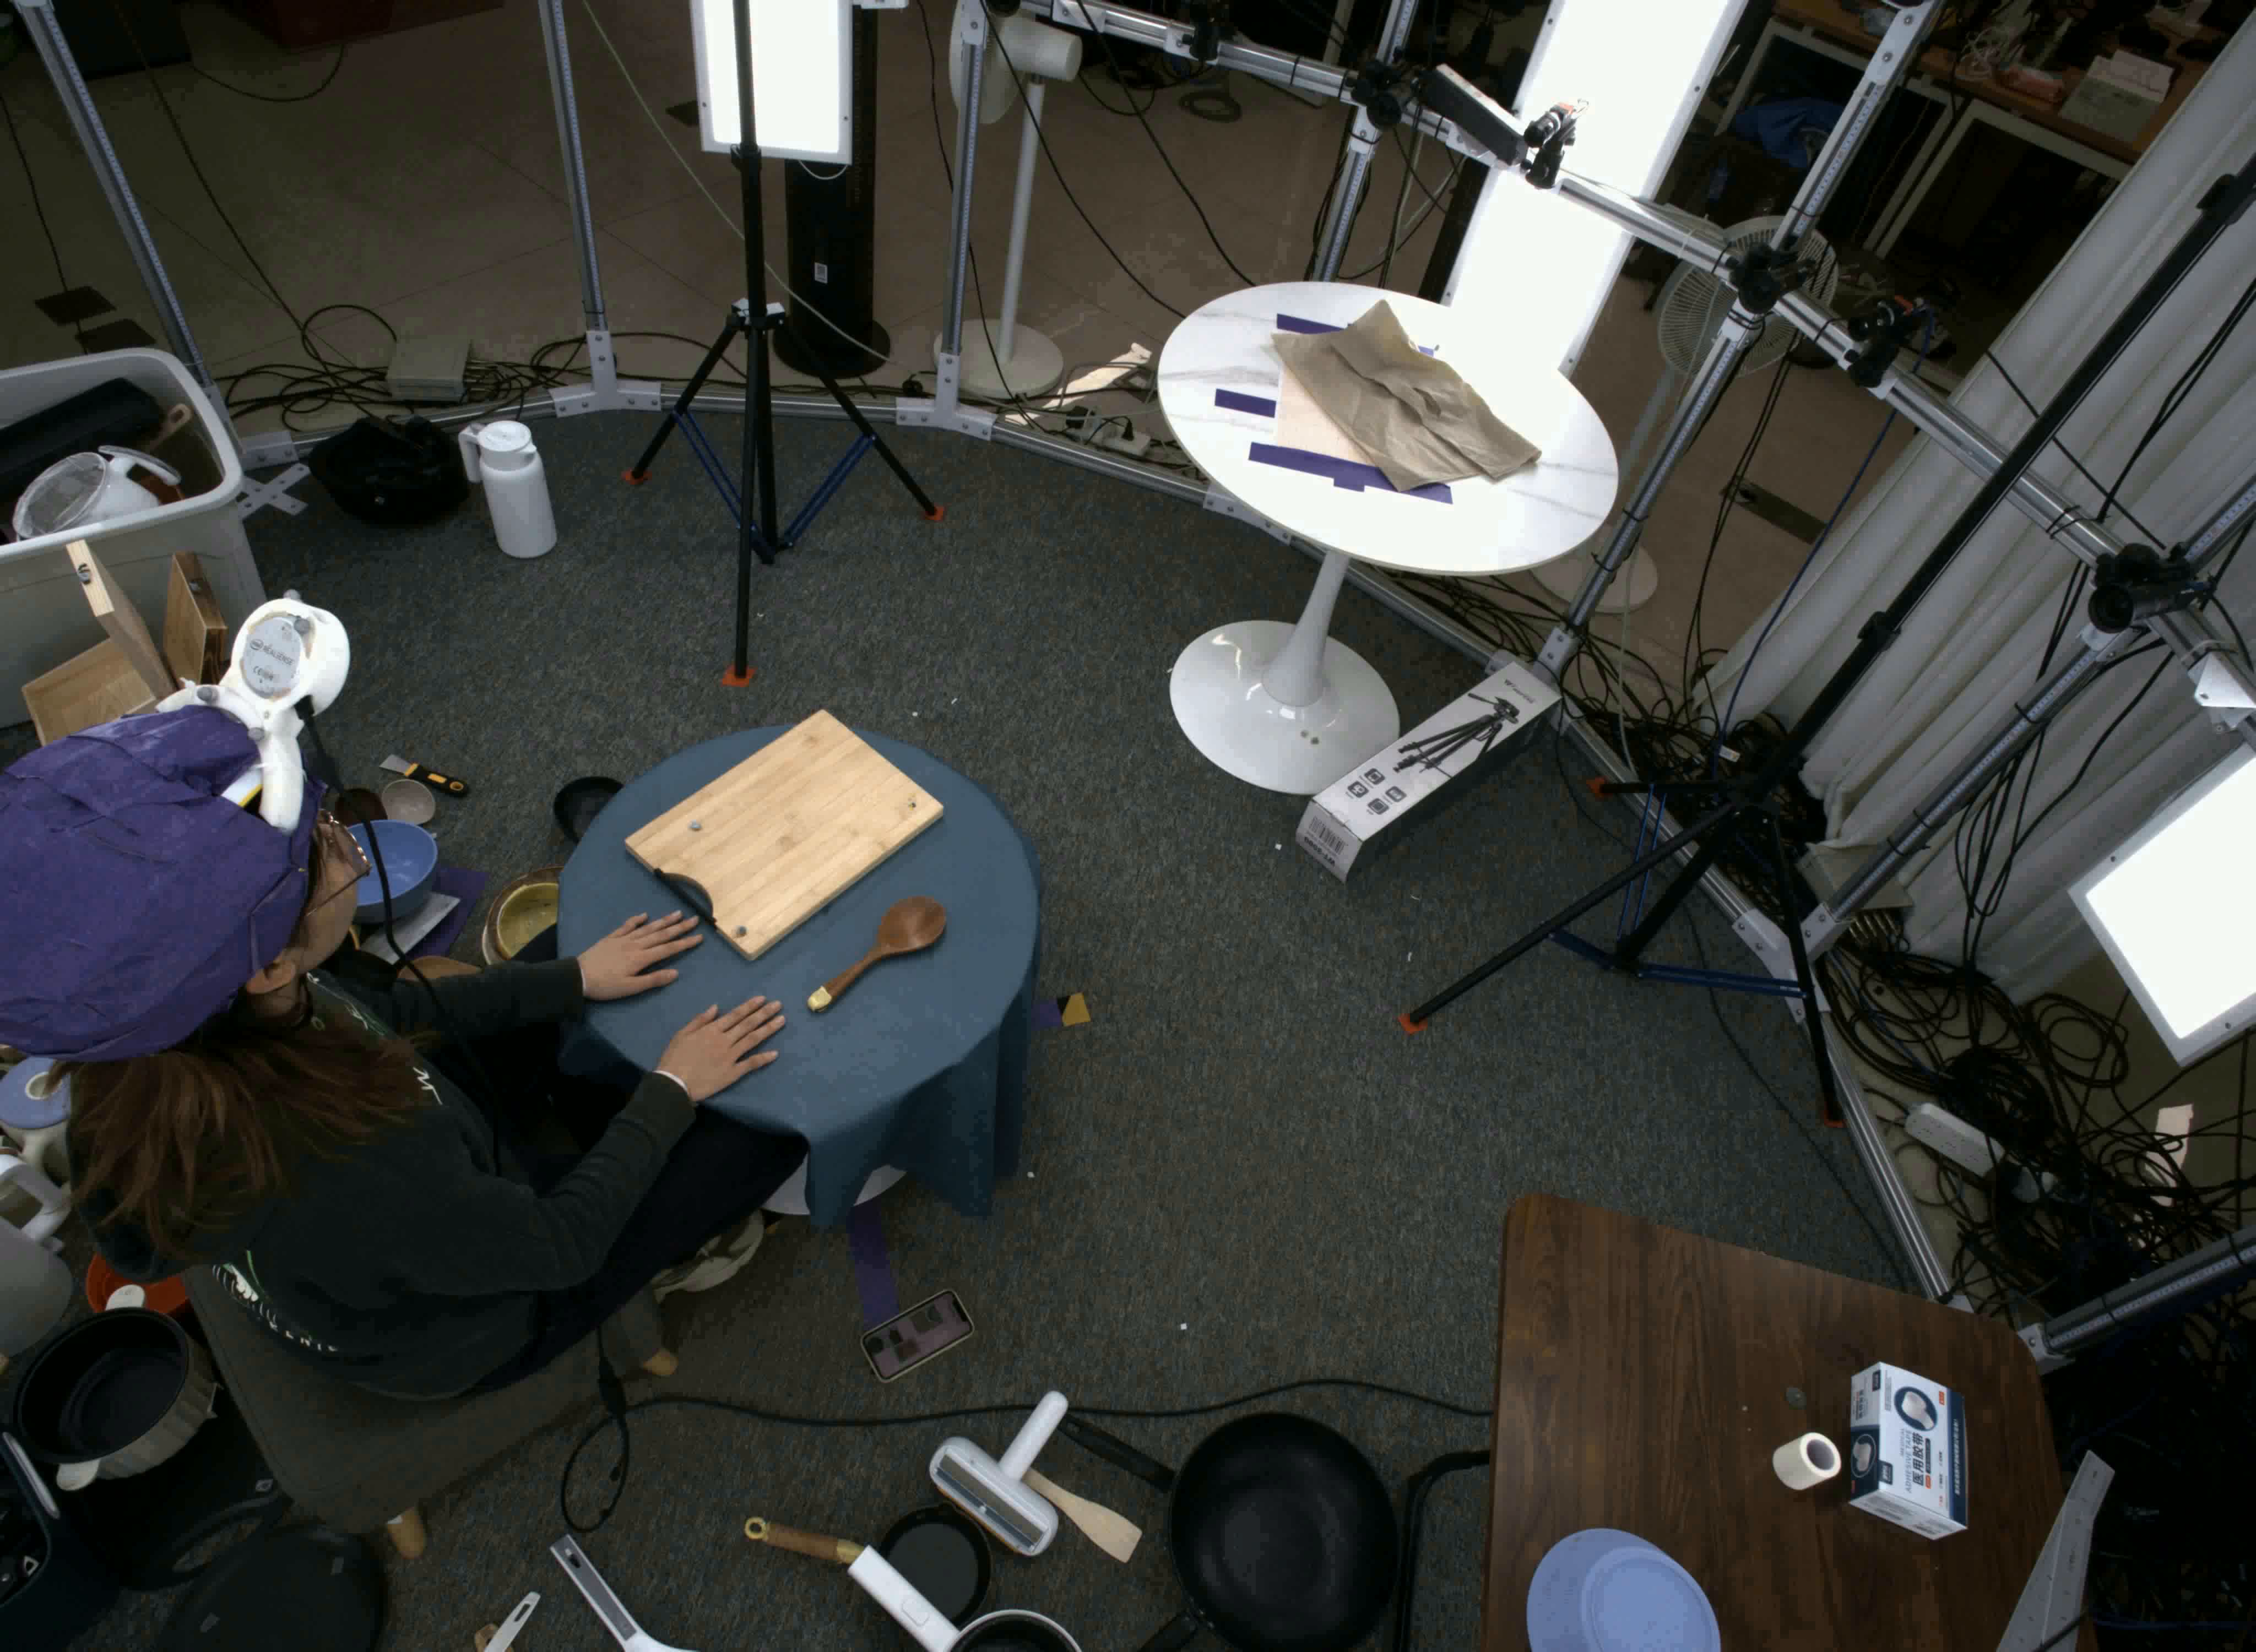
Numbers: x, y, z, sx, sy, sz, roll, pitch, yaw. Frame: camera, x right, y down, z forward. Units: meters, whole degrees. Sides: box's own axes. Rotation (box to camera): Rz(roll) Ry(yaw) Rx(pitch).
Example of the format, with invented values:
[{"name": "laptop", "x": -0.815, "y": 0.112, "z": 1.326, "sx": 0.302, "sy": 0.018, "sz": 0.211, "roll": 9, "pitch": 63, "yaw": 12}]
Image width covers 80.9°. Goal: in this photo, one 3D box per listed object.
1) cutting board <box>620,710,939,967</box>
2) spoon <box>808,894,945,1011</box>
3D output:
[{"name": "cutting board", "x": -0.452, "y": 0.004, "z": 1.708, "sx": 0.245, "sy": 0.024, "sz": 0.349, "roll": 37, "pitch": 54, "yaw": 14}, {"name": "spoon", "x": -0.315, "y": 0.158, "z": 1.628, "sx": 0.074, "sy": 0.017, "sz": 0.216, "roll": 39, "pitch": 54, "yaw": 14}]
